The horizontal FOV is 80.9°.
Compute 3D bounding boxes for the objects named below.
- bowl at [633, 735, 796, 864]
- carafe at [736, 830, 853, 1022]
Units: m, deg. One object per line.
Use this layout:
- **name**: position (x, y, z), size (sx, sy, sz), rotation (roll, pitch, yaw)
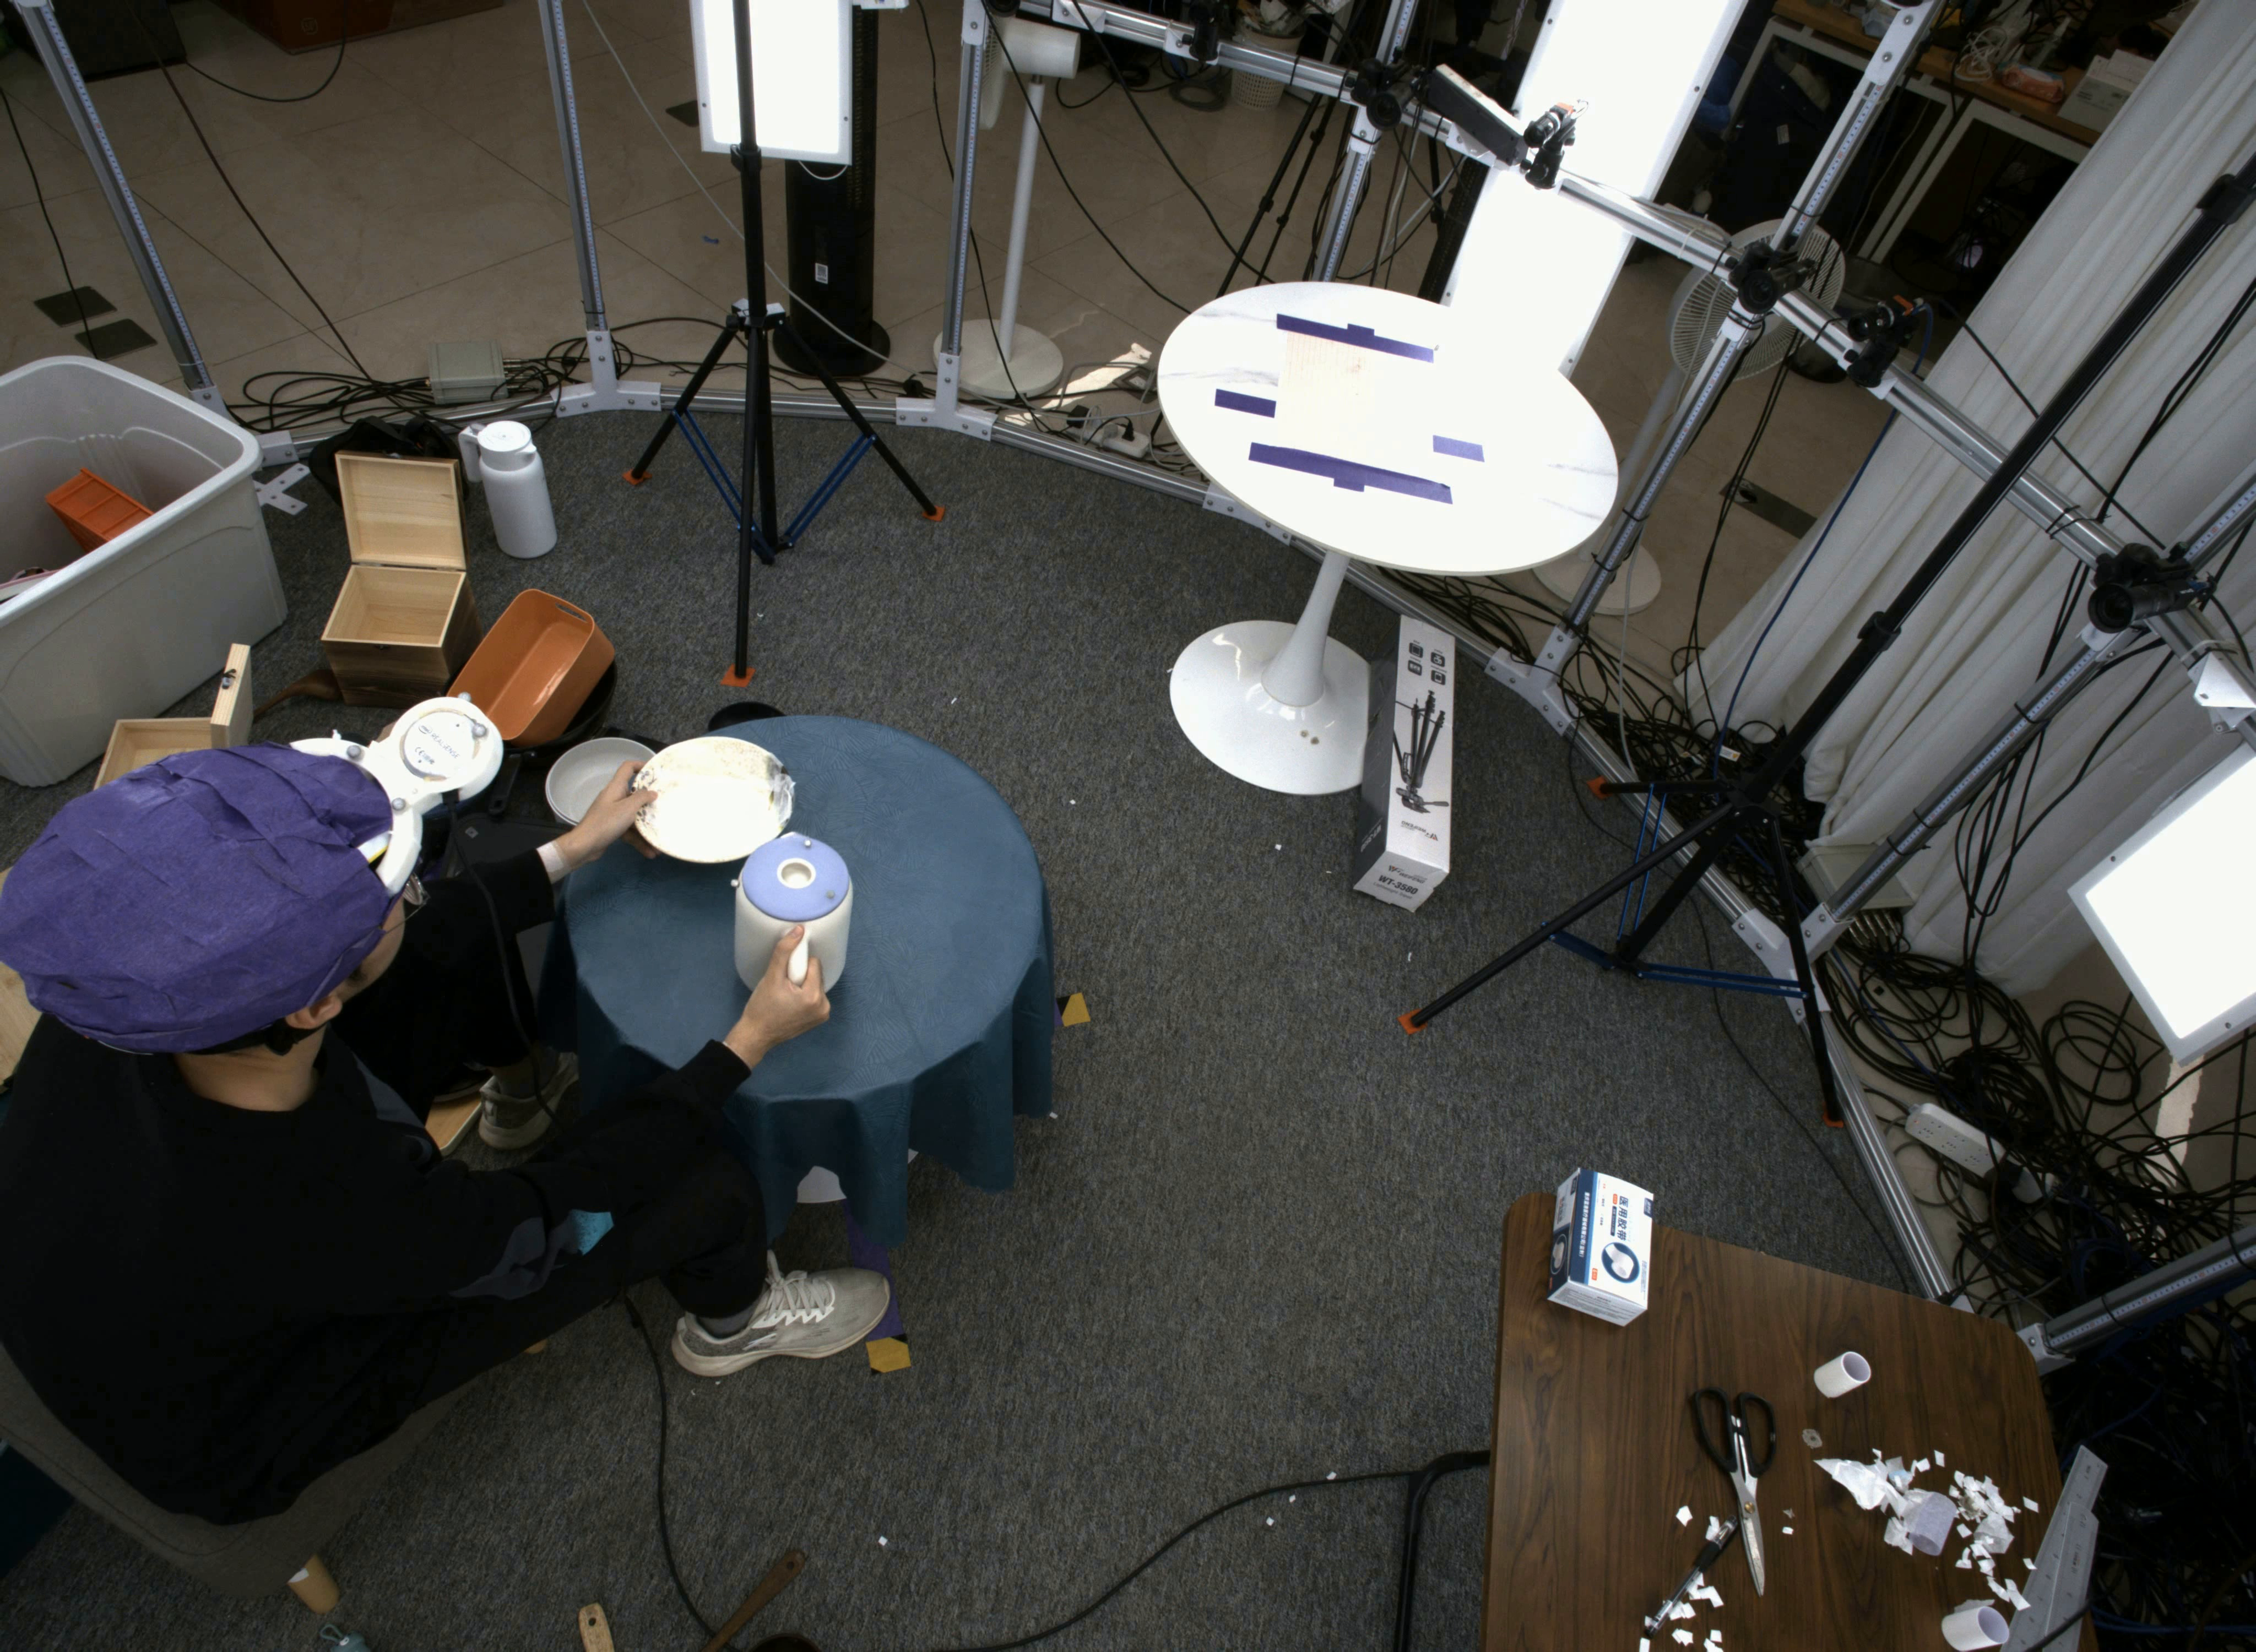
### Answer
- **bowl**: position (-0.530, -0.016, 1.665), size (0.203, 0.079, 0.200), rotation (6, 54, -7)
- **carafe**: position (-0.386, 0.128, 1.502), size (0.133, 0.186, 0.187), rotation (-3, 55, -18)
